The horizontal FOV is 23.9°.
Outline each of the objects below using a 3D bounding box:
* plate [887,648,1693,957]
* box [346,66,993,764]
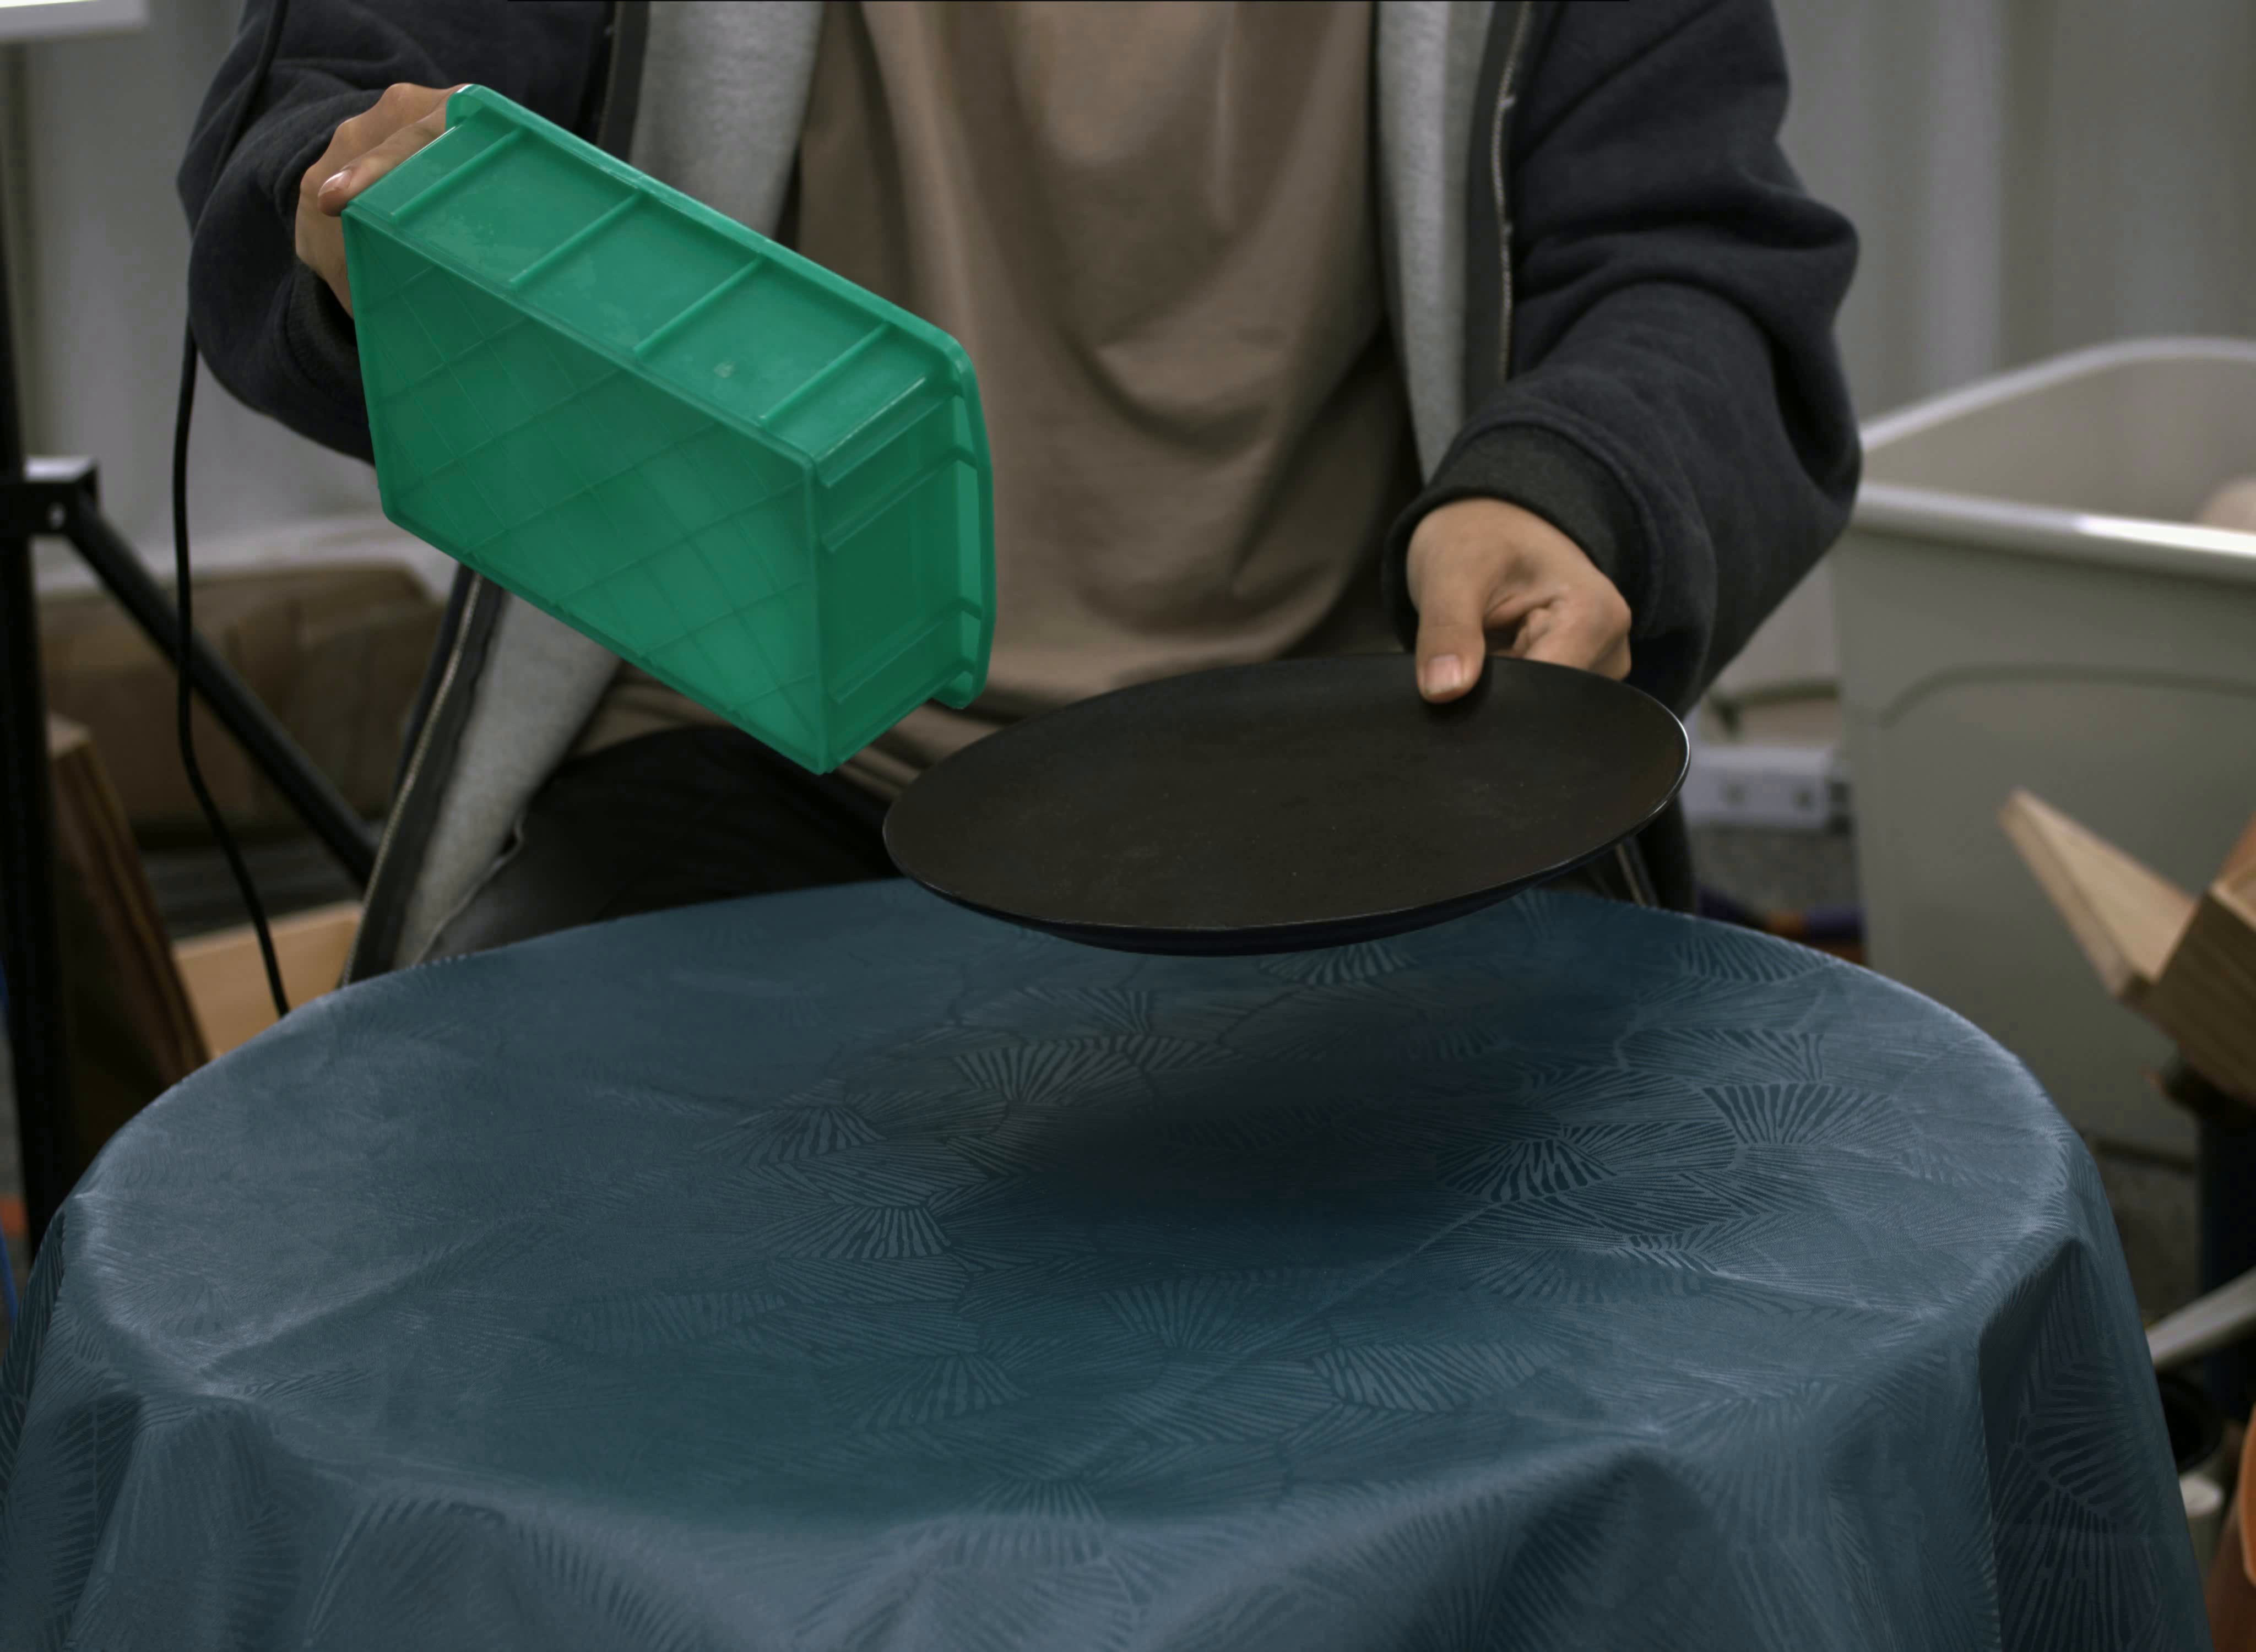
[{"bbox_3d":[0.049,-0.004,1.598,0.243,0.023,0.246,-8,19,1],"label":"plate"},{"bbox_3d":[-0.138,-0.115,1.543,0.214,0.138,0.064,30,49,27],"label":"box"}]
